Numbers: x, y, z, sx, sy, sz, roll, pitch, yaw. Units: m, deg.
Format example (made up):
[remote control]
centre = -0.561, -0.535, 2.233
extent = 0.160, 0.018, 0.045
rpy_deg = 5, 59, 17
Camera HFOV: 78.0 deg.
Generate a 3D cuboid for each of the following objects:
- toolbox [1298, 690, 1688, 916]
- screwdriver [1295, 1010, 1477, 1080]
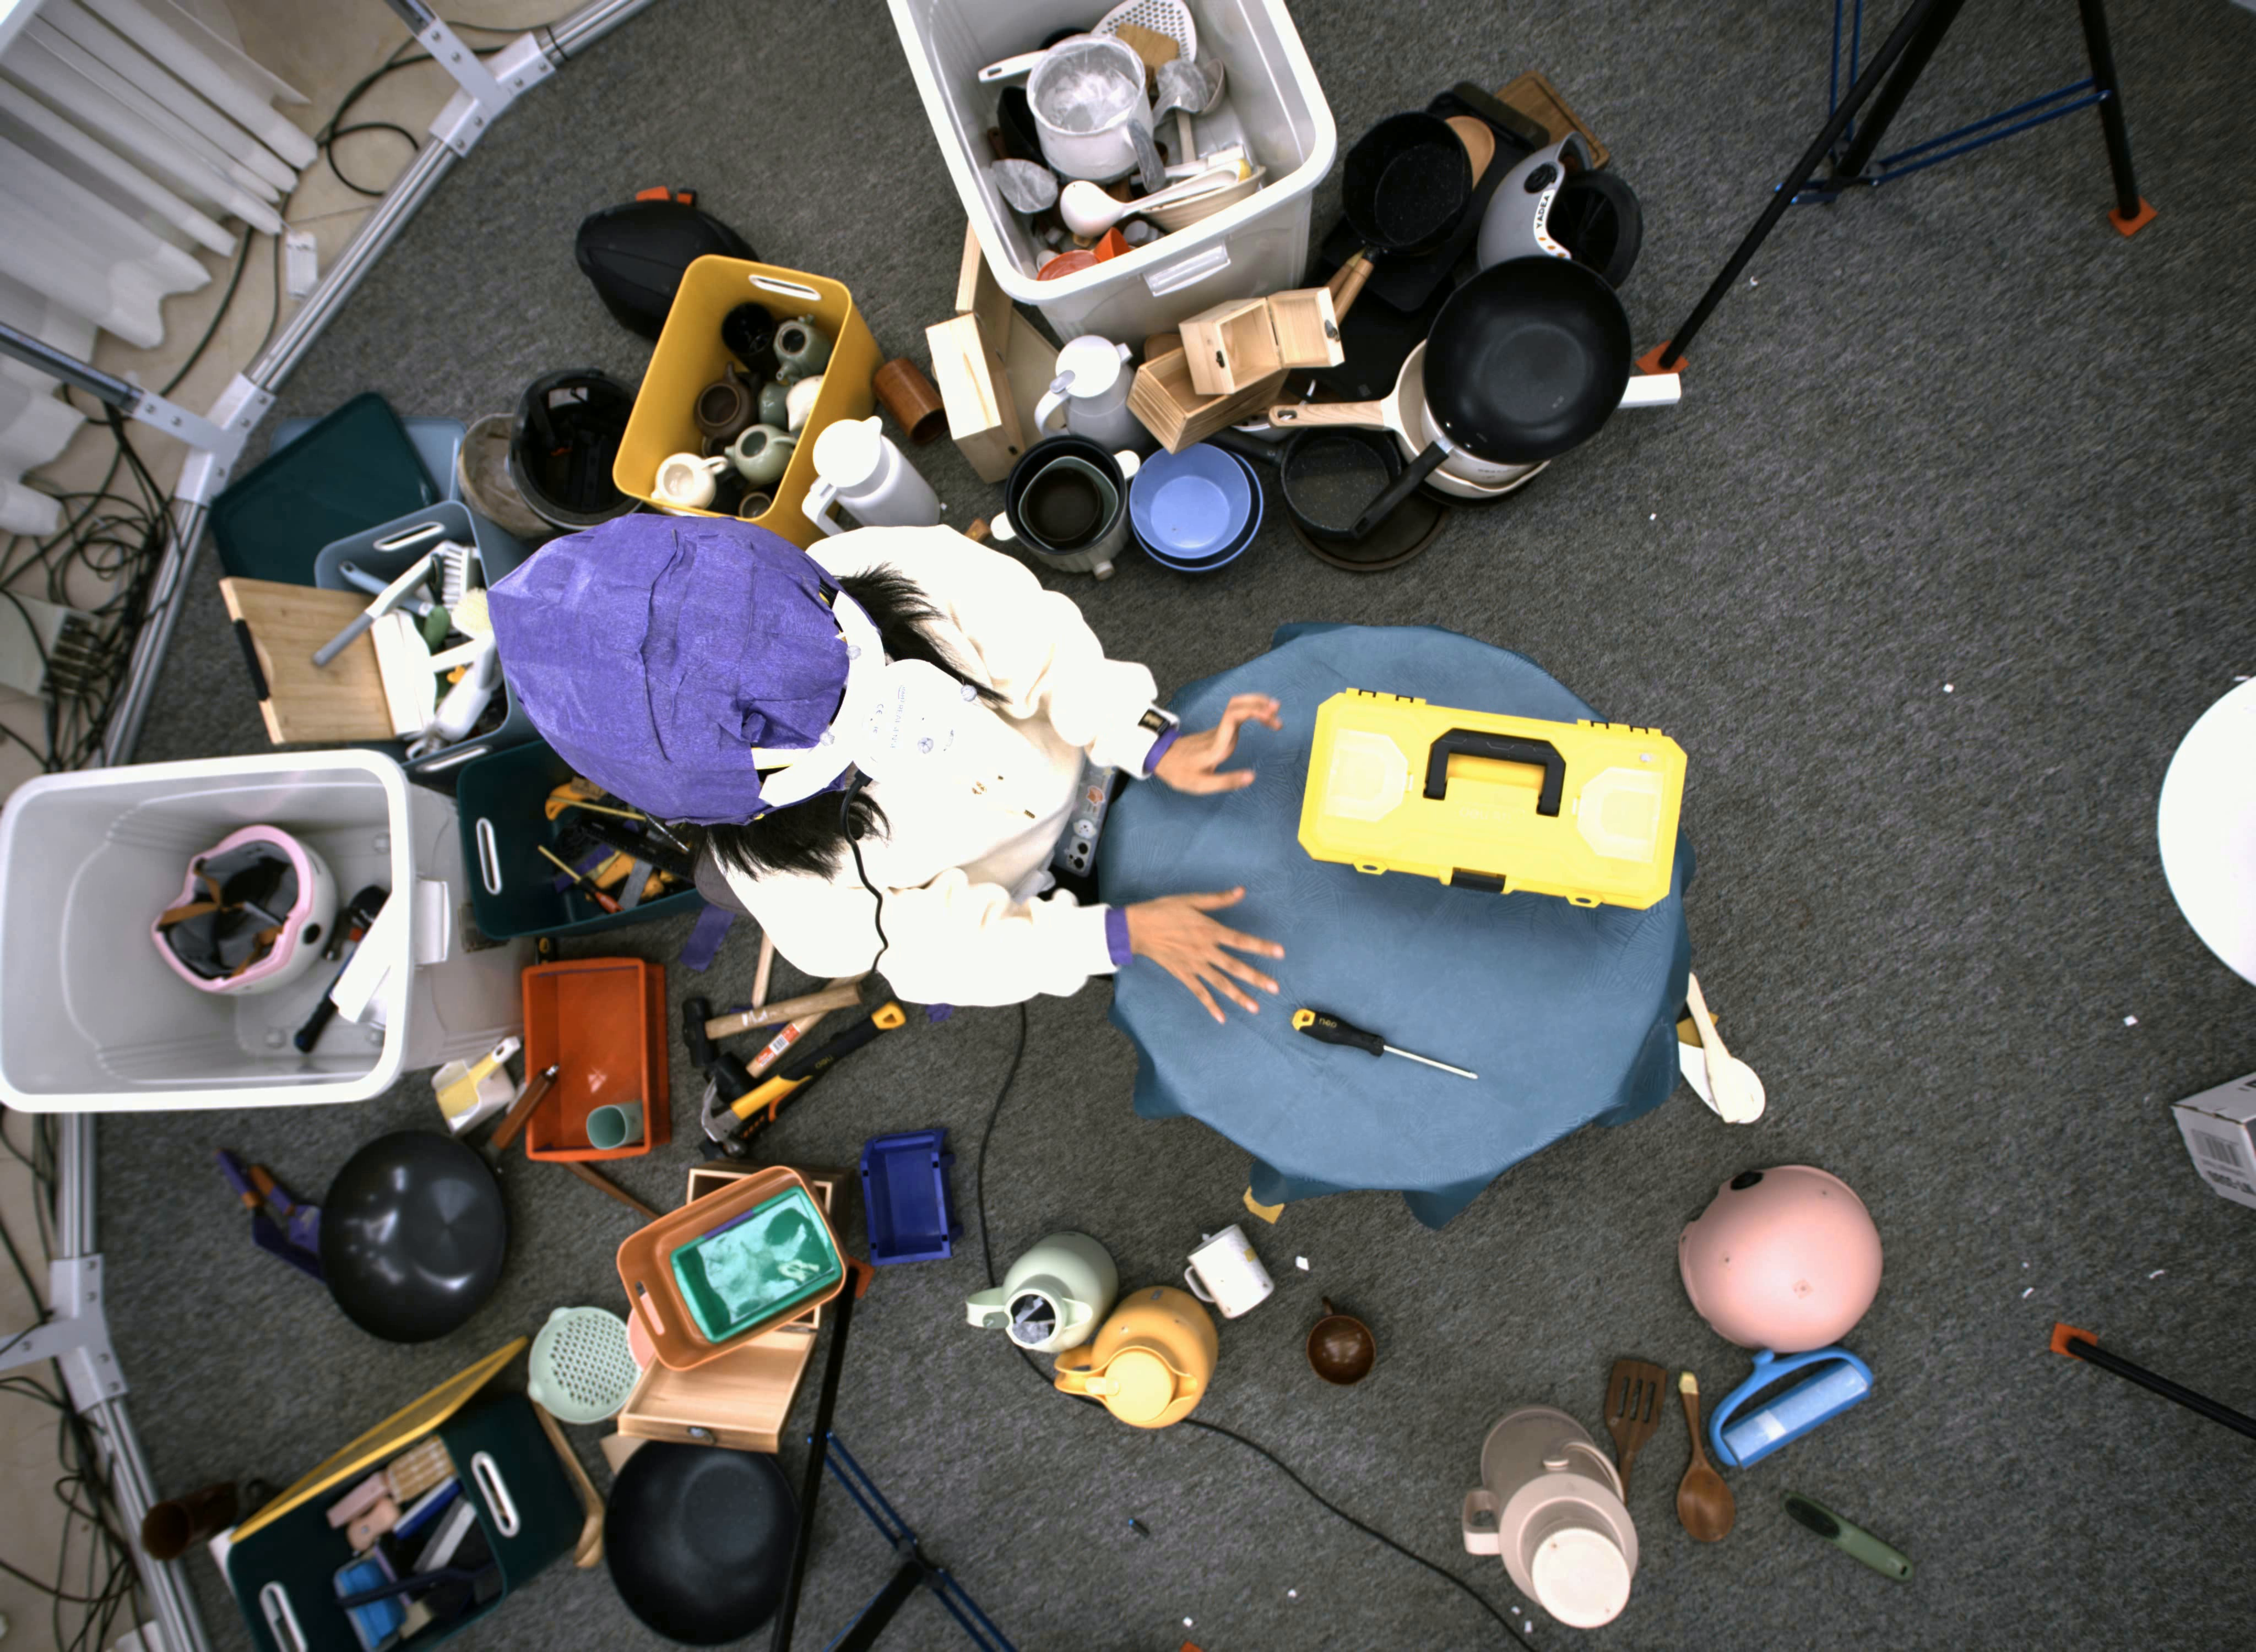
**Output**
[toolbox]
centre = 0.354, -0.023, 1.362
extent = 0.352, 0.173, 0.181
rpy_deg = 9, 87, 11
[screwdriver]
centre = 0.268, 0.229, 1.435
extent = 0.196, 0.031, 0.031
rpy_deg = 17, 88, 9
